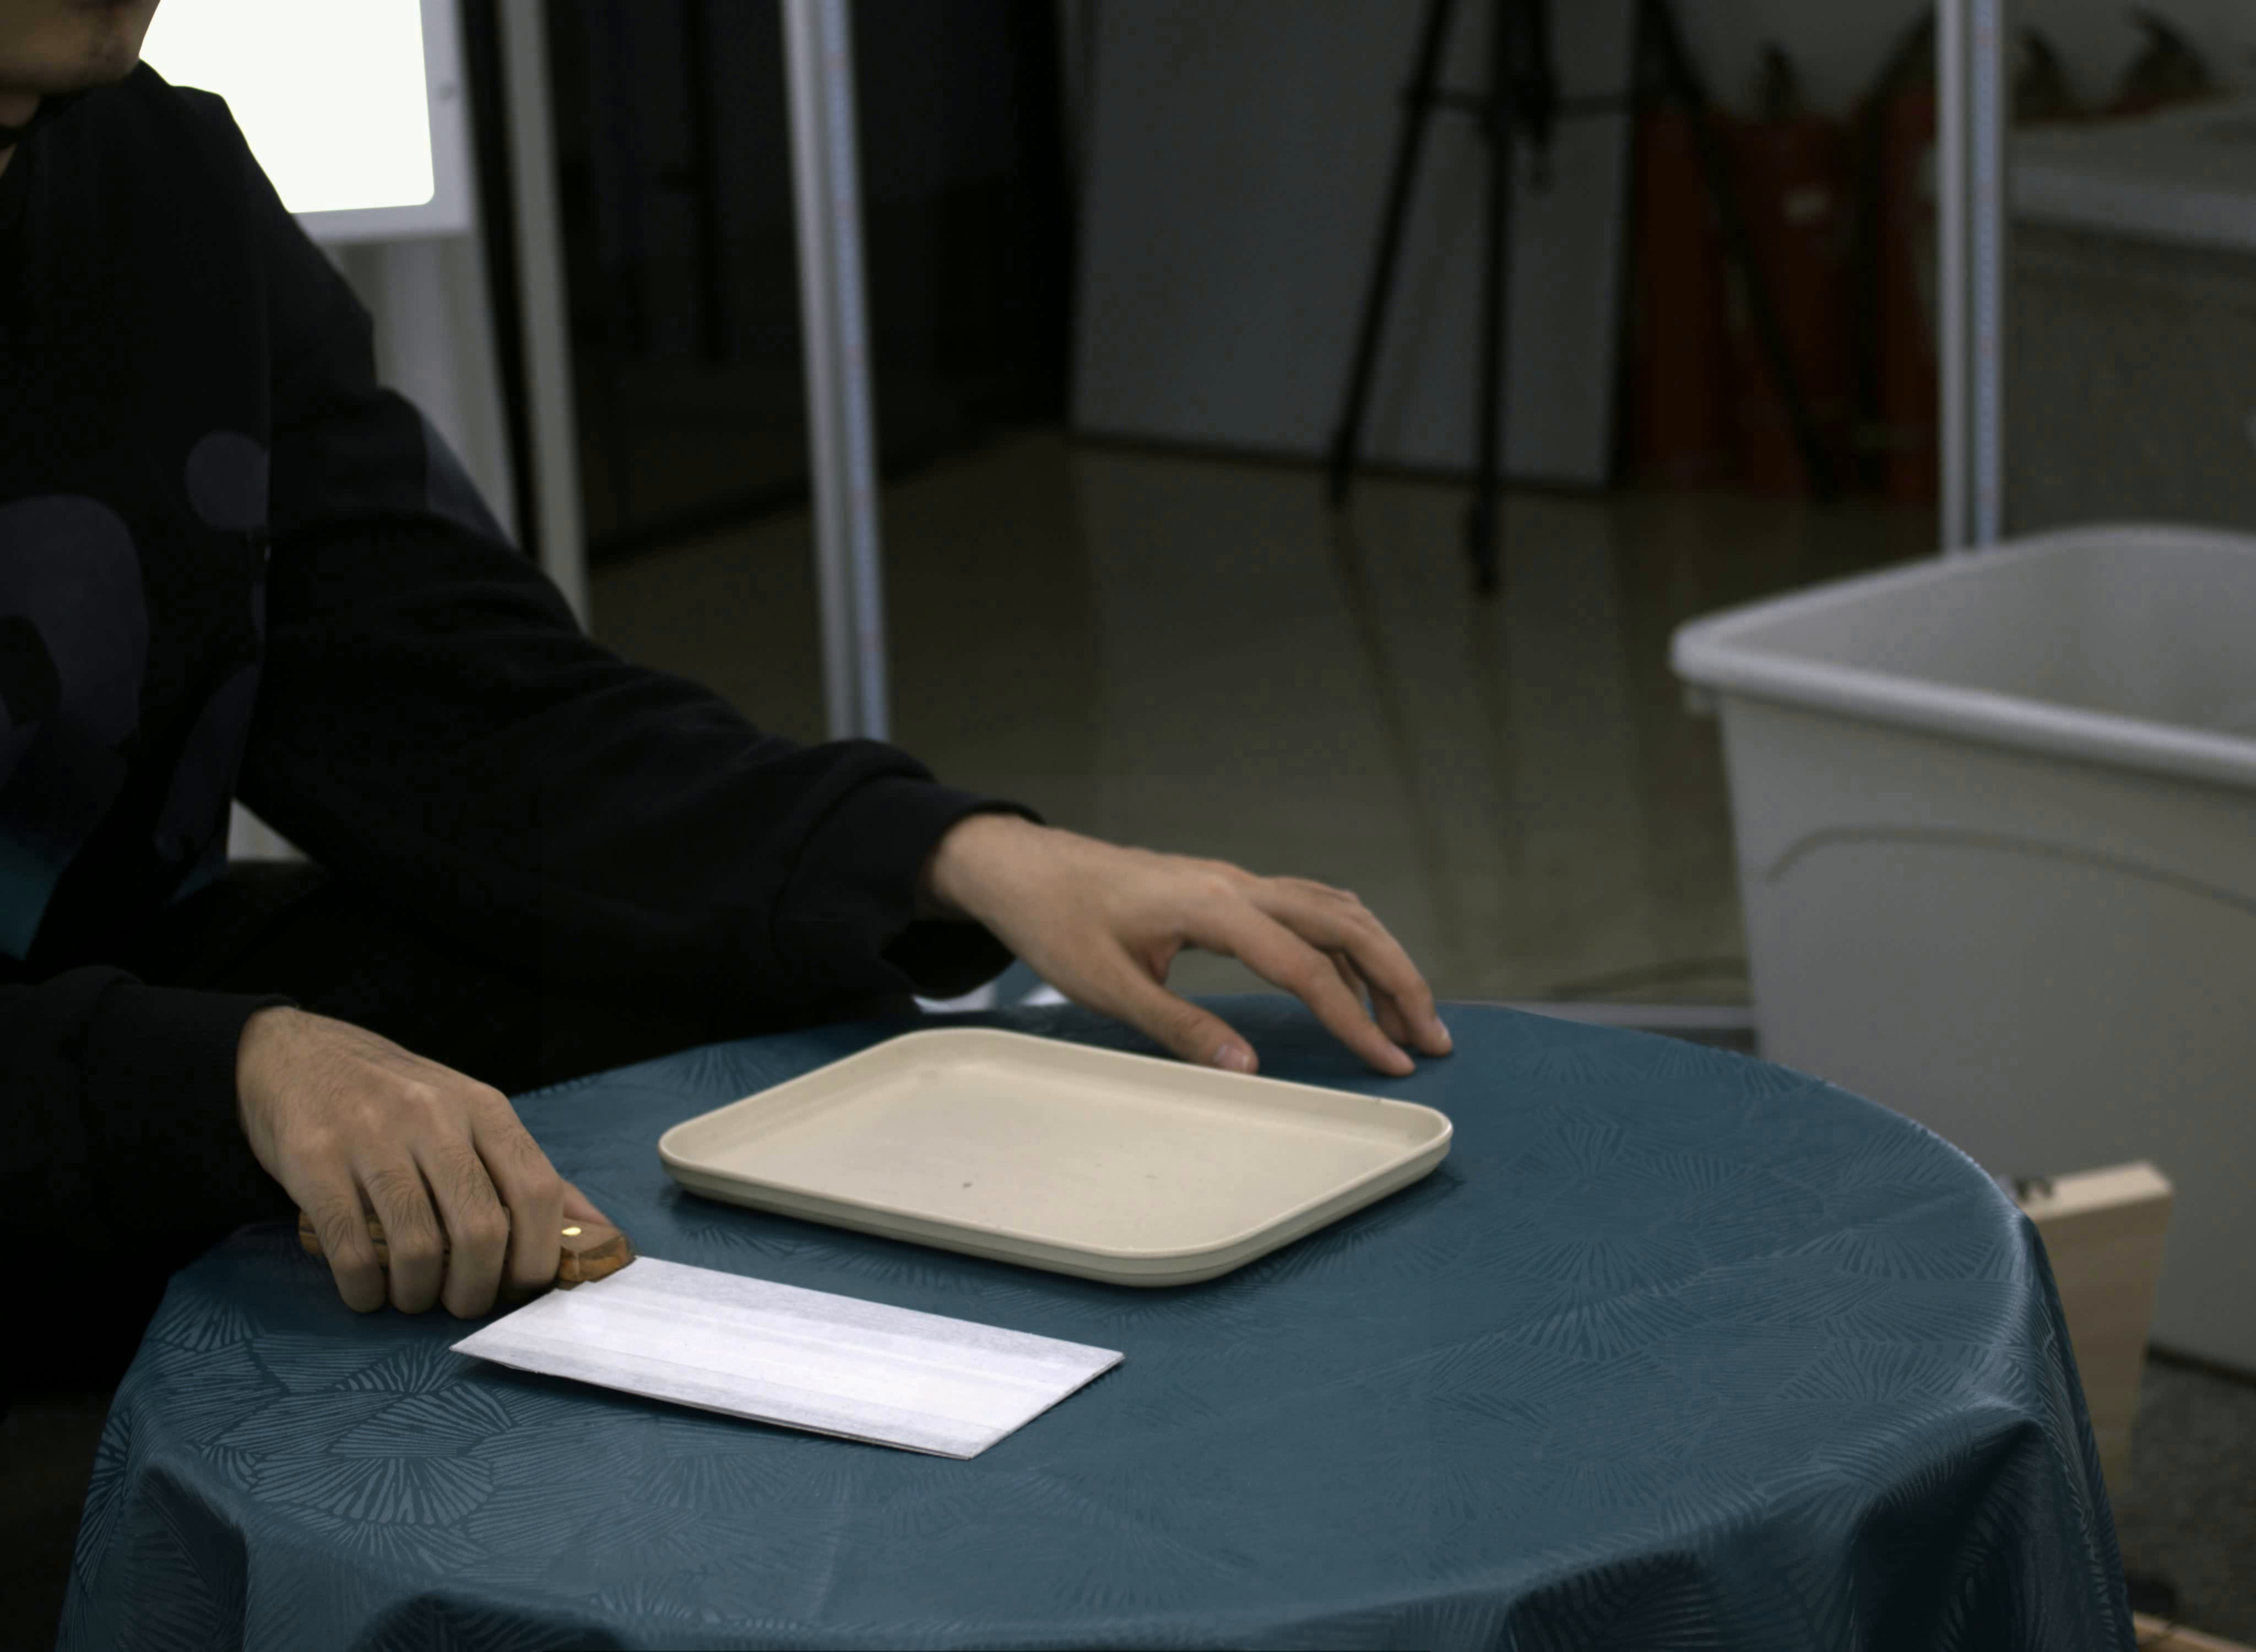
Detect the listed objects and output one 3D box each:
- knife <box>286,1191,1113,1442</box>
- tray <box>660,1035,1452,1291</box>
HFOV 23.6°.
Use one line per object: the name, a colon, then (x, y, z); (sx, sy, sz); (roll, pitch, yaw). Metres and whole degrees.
knife: (-0.150, 0.153, 1.656); (0.307, 0.021, 0.091); (7, 20, 32)
tray: (-0.024, 0.110, 1.783); (0.241, 0.017, 0.168); (7, 19, 39)
